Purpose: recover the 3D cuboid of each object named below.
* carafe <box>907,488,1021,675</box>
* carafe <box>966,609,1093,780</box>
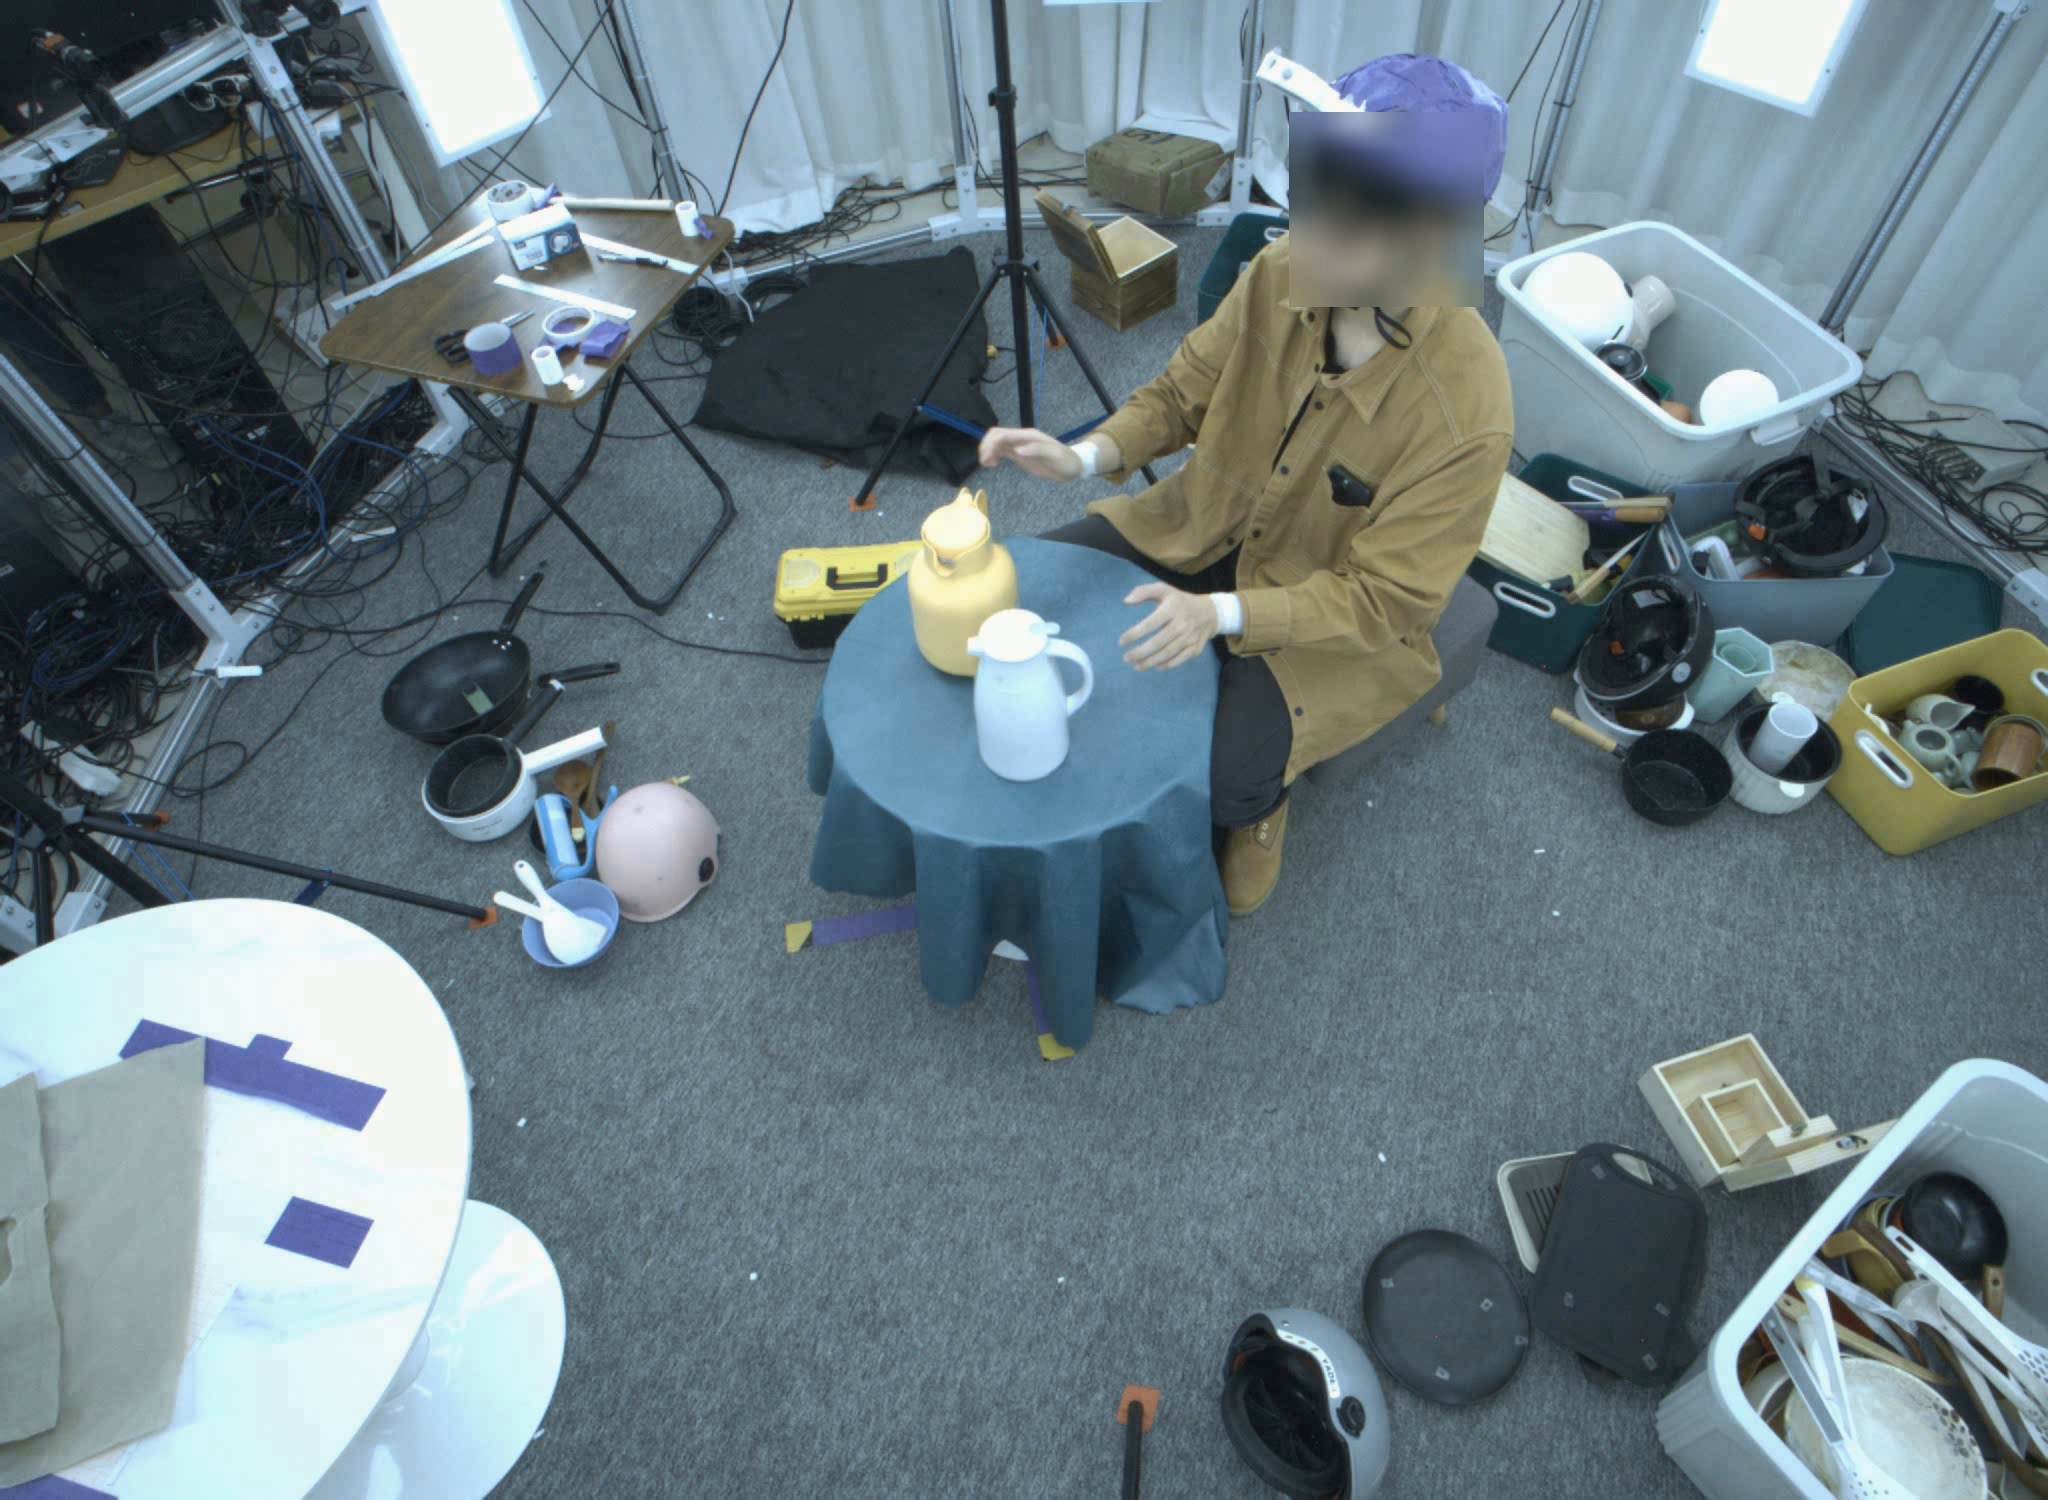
[{"bbox_3d":[-0.084,-0.255,1.808,0.162,0.263,0.201,11,57,9],"label":"carafe"},{"bbox_3d":[0.011,-0.083,1.689,0.168,0.251,0.131,-3,54,0],"label":"carafe"}]
